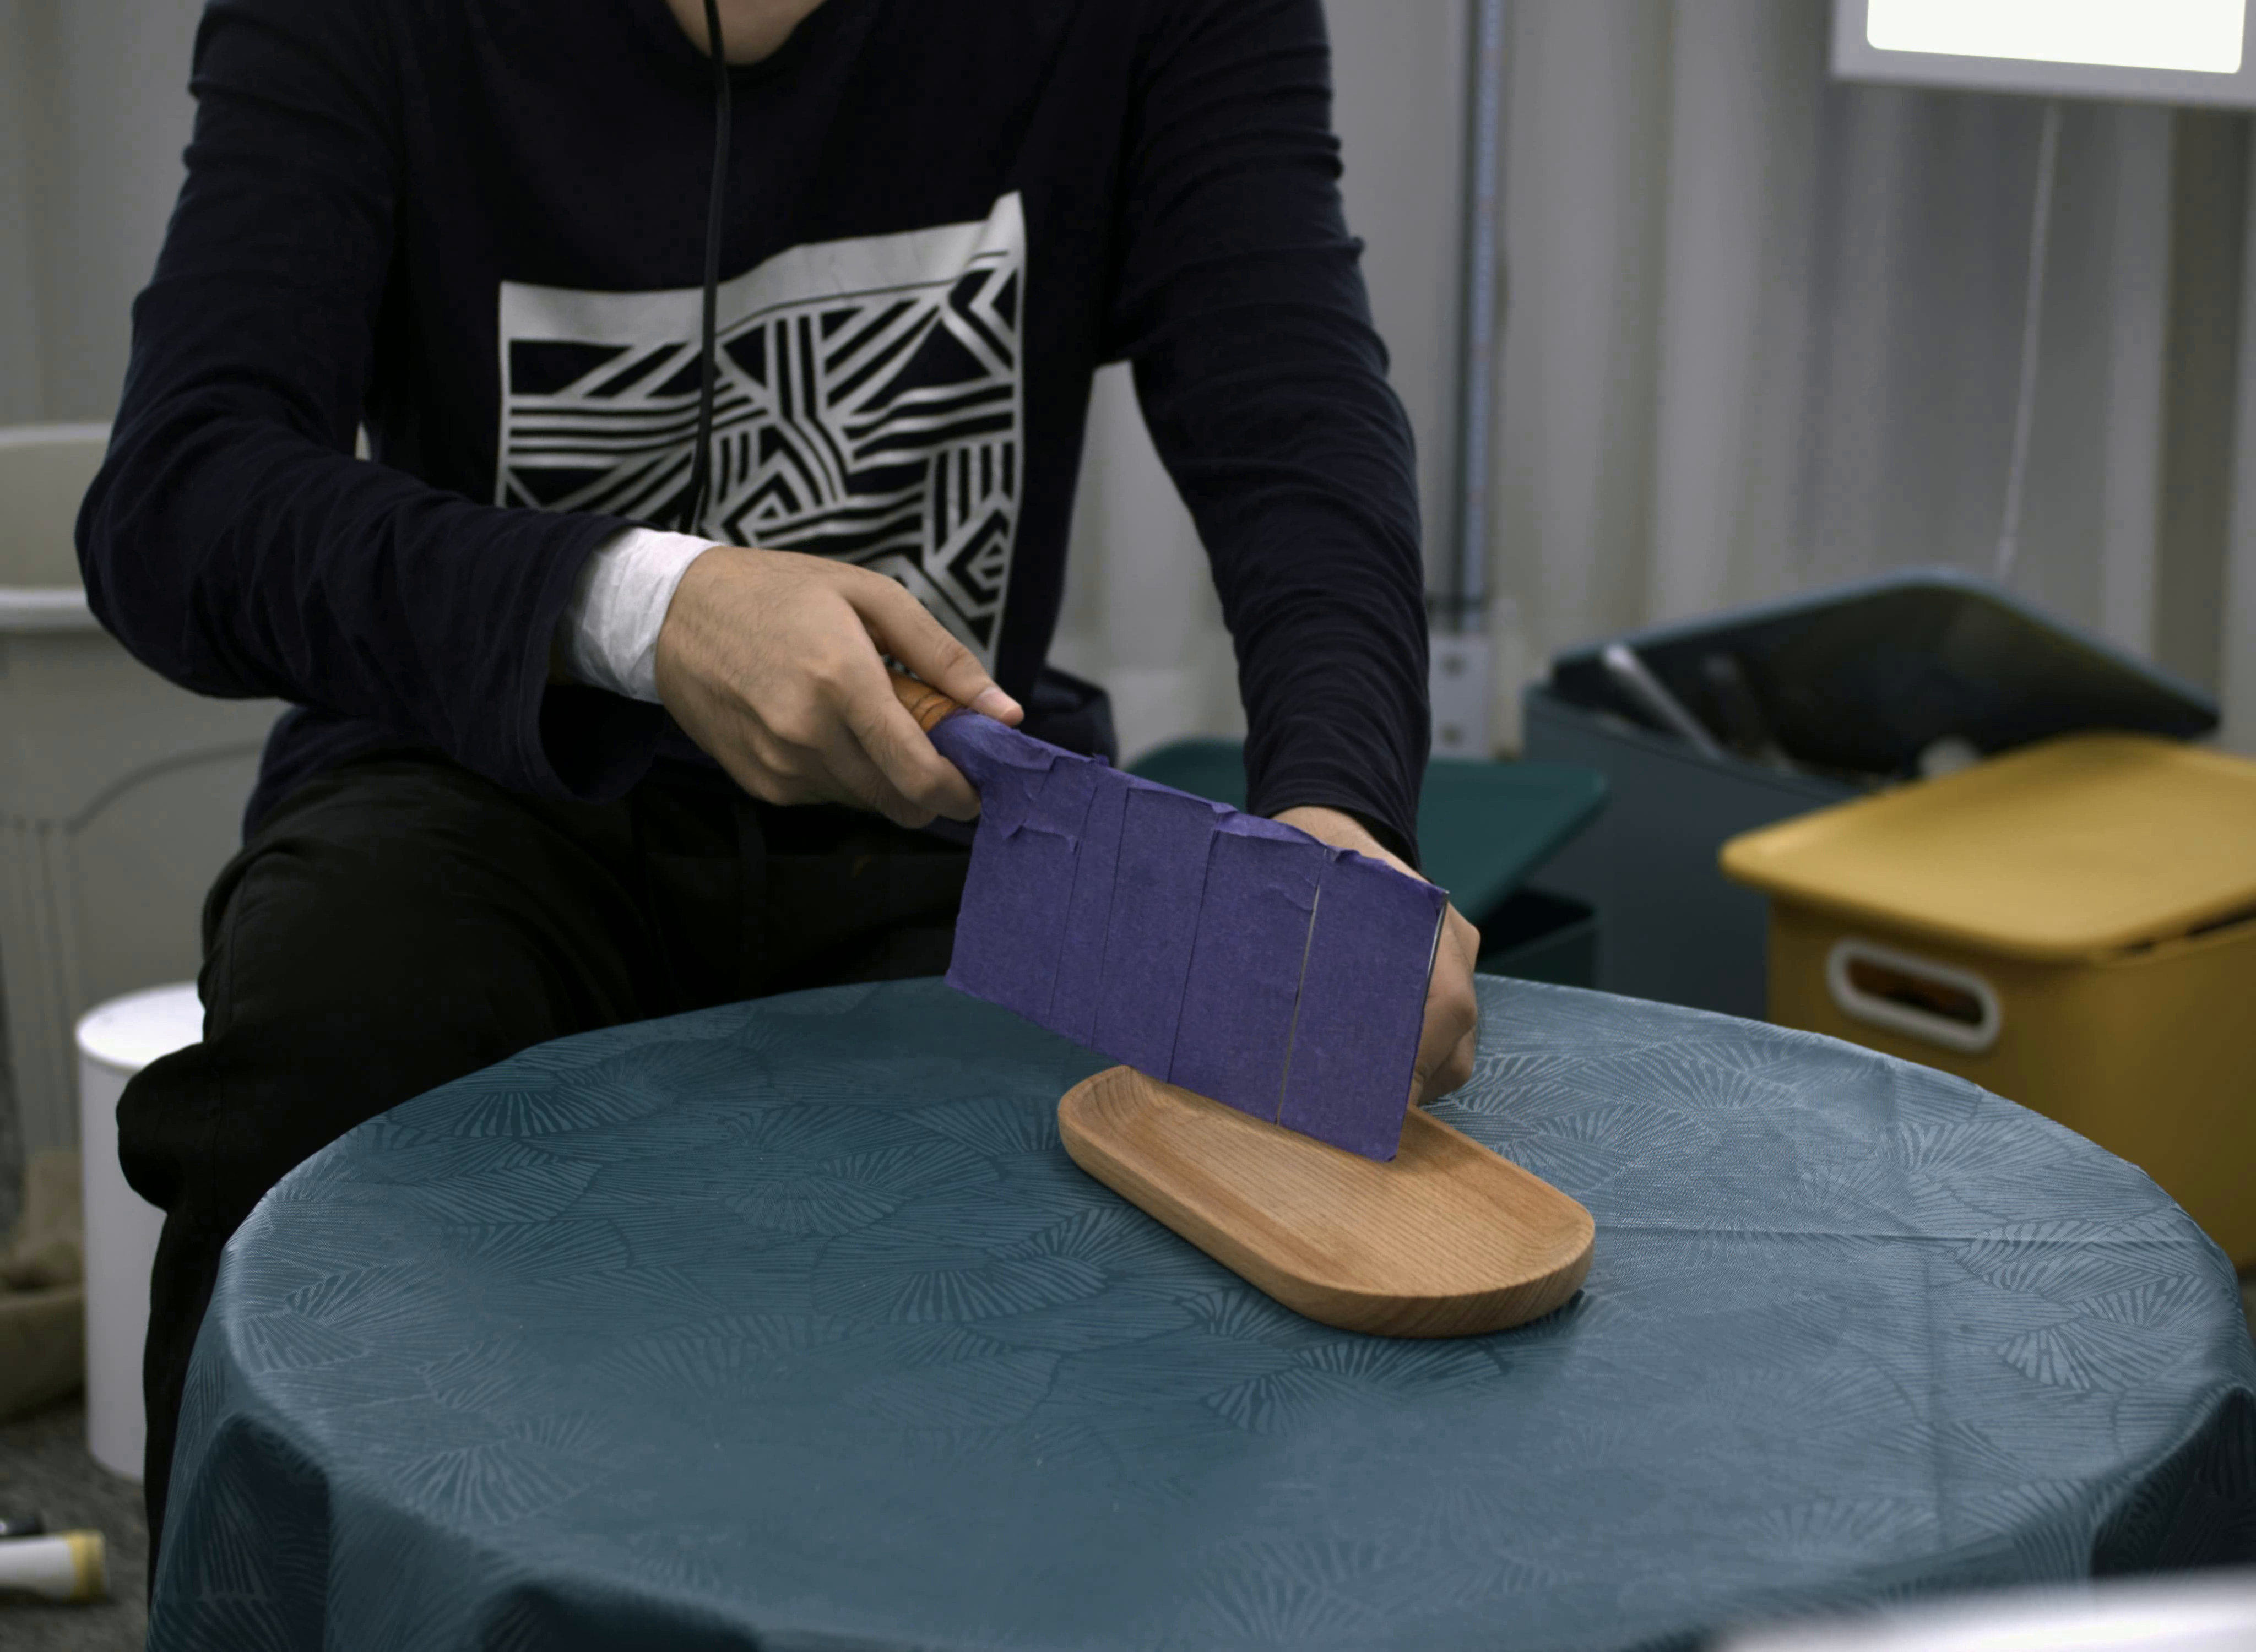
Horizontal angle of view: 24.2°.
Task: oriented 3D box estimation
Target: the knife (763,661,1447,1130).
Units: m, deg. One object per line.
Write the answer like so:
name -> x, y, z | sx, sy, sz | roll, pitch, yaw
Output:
knife -> -0.018, 0.021, 1.702 | 0.032, 0.104, 0.311 | 4, 11, -44

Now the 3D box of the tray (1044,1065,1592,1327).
tray -> 0.055, 0.108, 1.604 | 0.102, 0.020, 0.228 | -10, 17, -27
